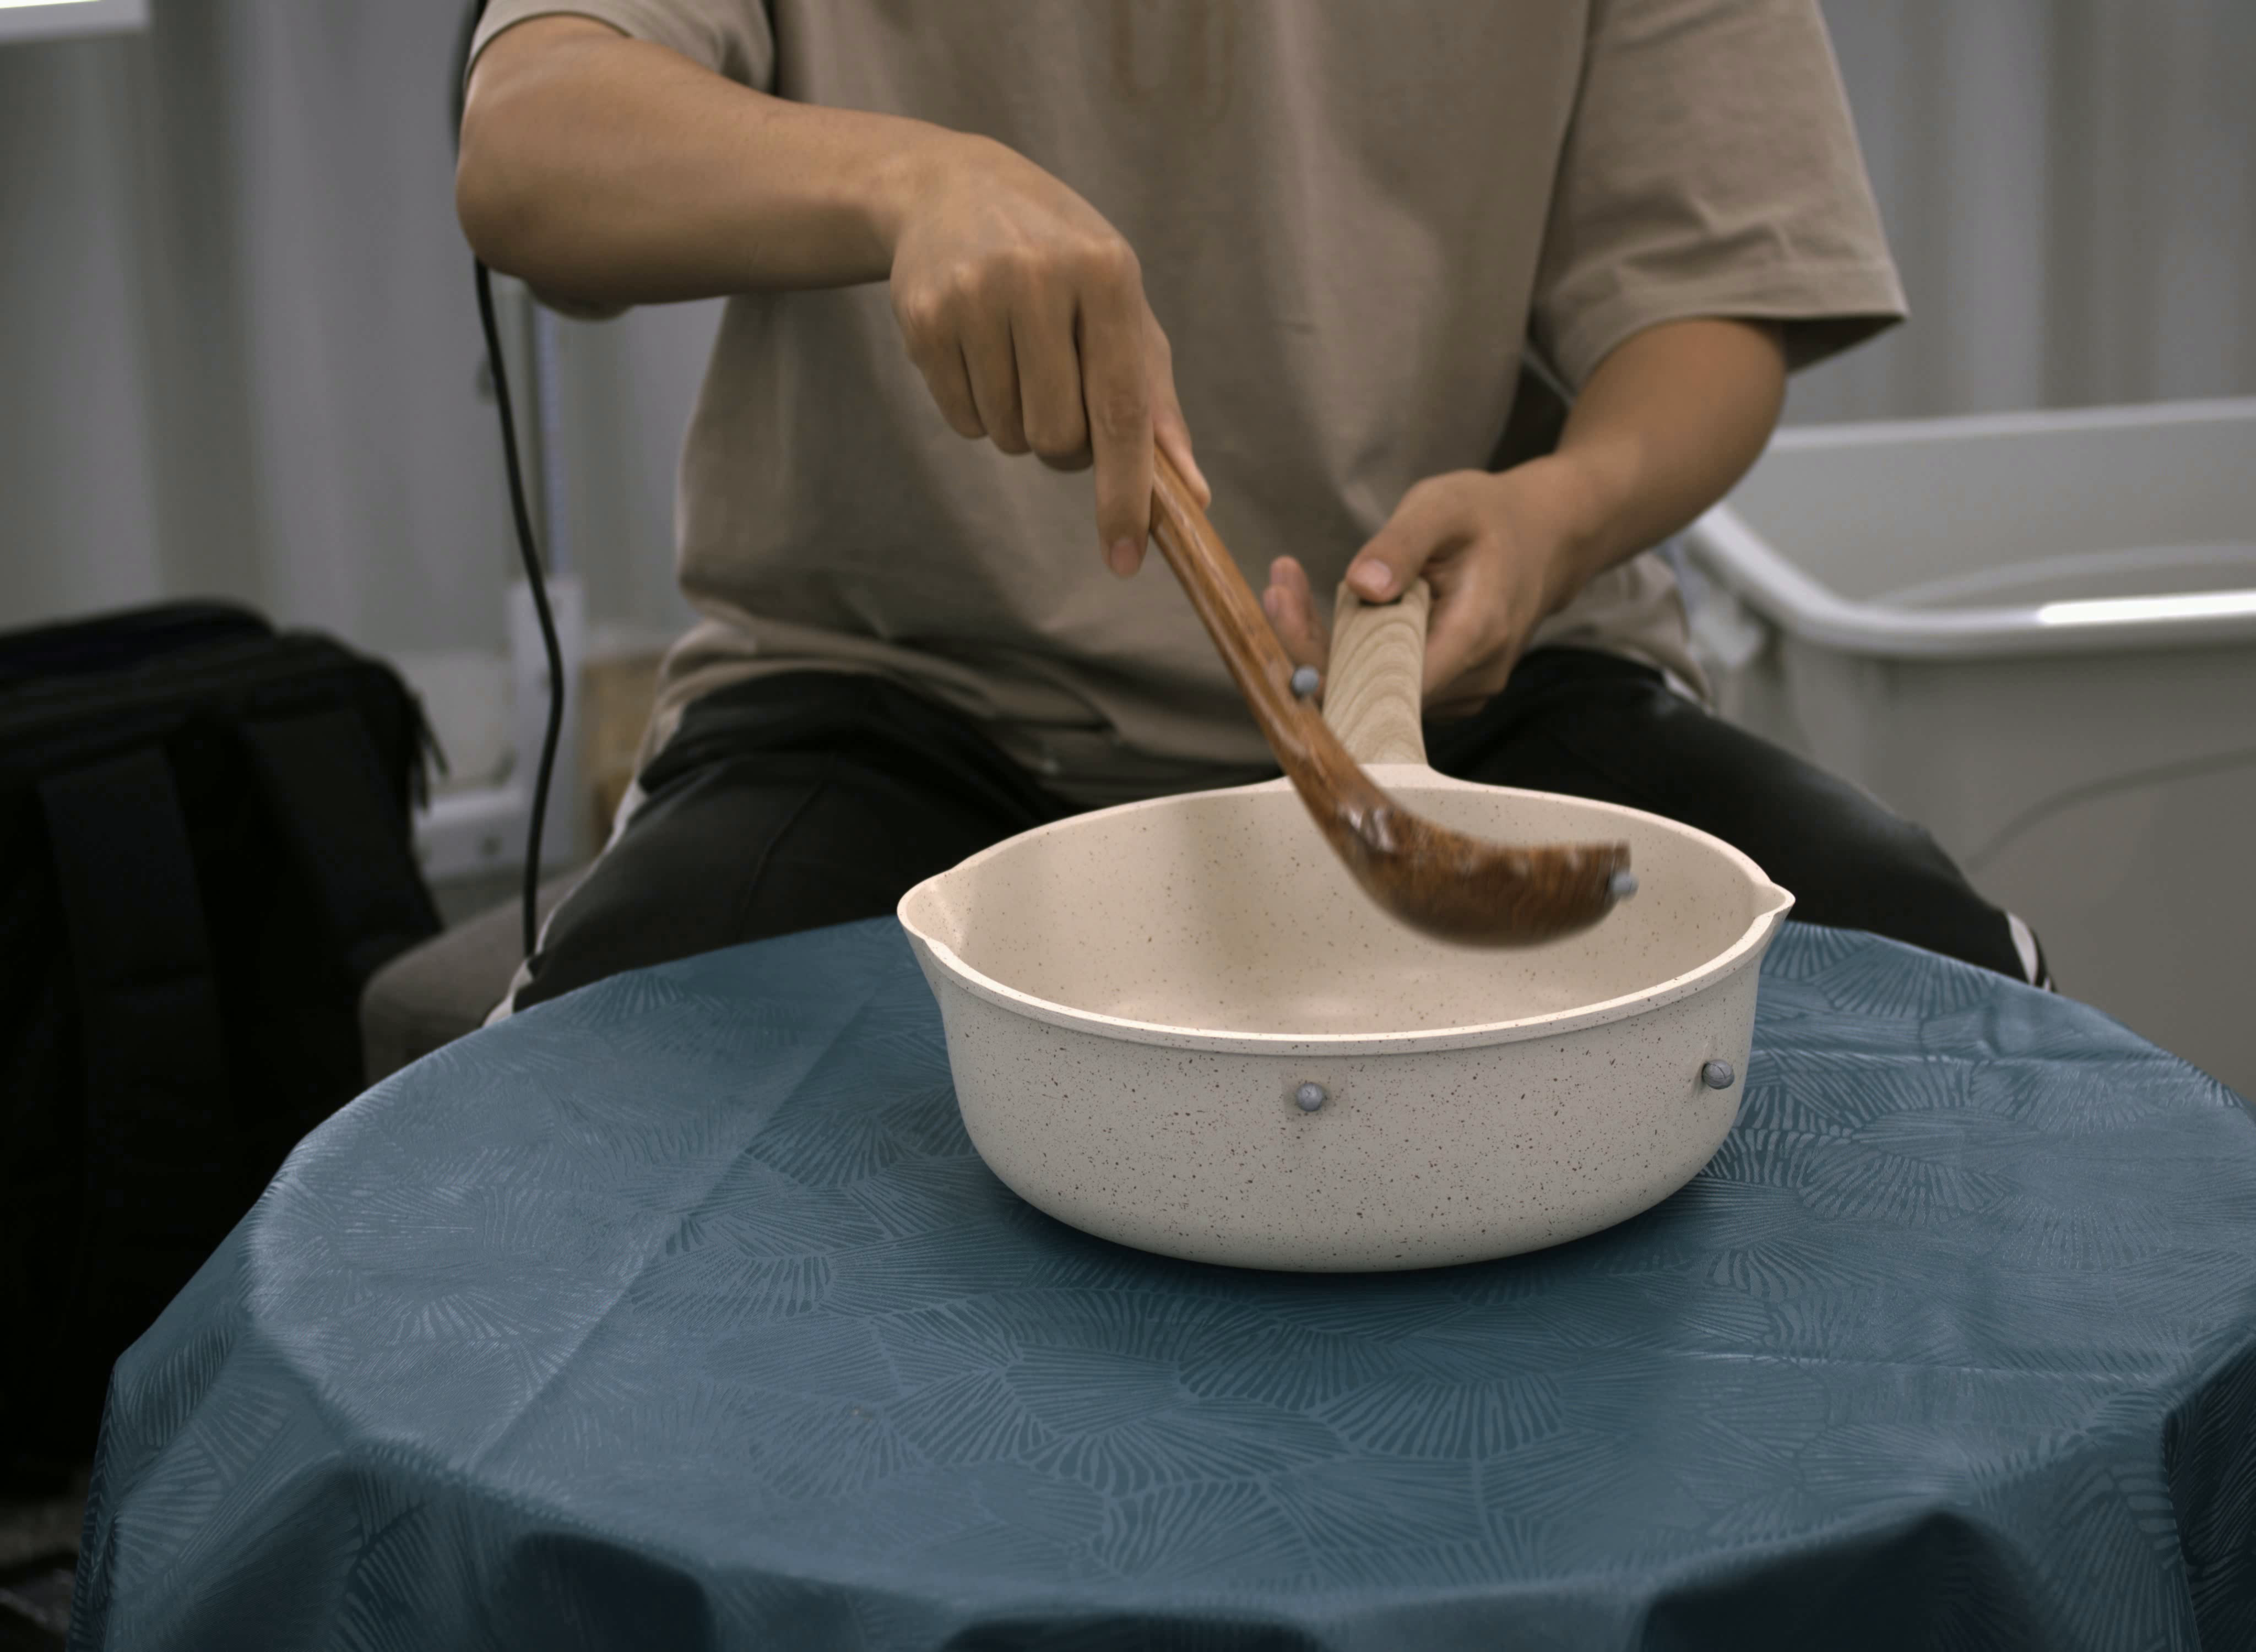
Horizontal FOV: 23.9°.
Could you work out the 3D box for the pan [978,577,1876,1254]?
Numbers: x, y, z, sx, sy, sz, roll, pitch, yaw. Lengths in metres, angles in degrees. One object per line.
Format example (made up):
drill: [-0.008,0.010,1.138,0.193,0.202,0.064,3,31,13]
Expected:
pan: [0.095,0.023,1.646,0.263,0.102,0.435,-2,16,6]

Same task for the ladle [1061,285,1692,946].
ladle: [0.072,-0.073,1.587,0.077,0.278,0.080,-40,-23,22]
